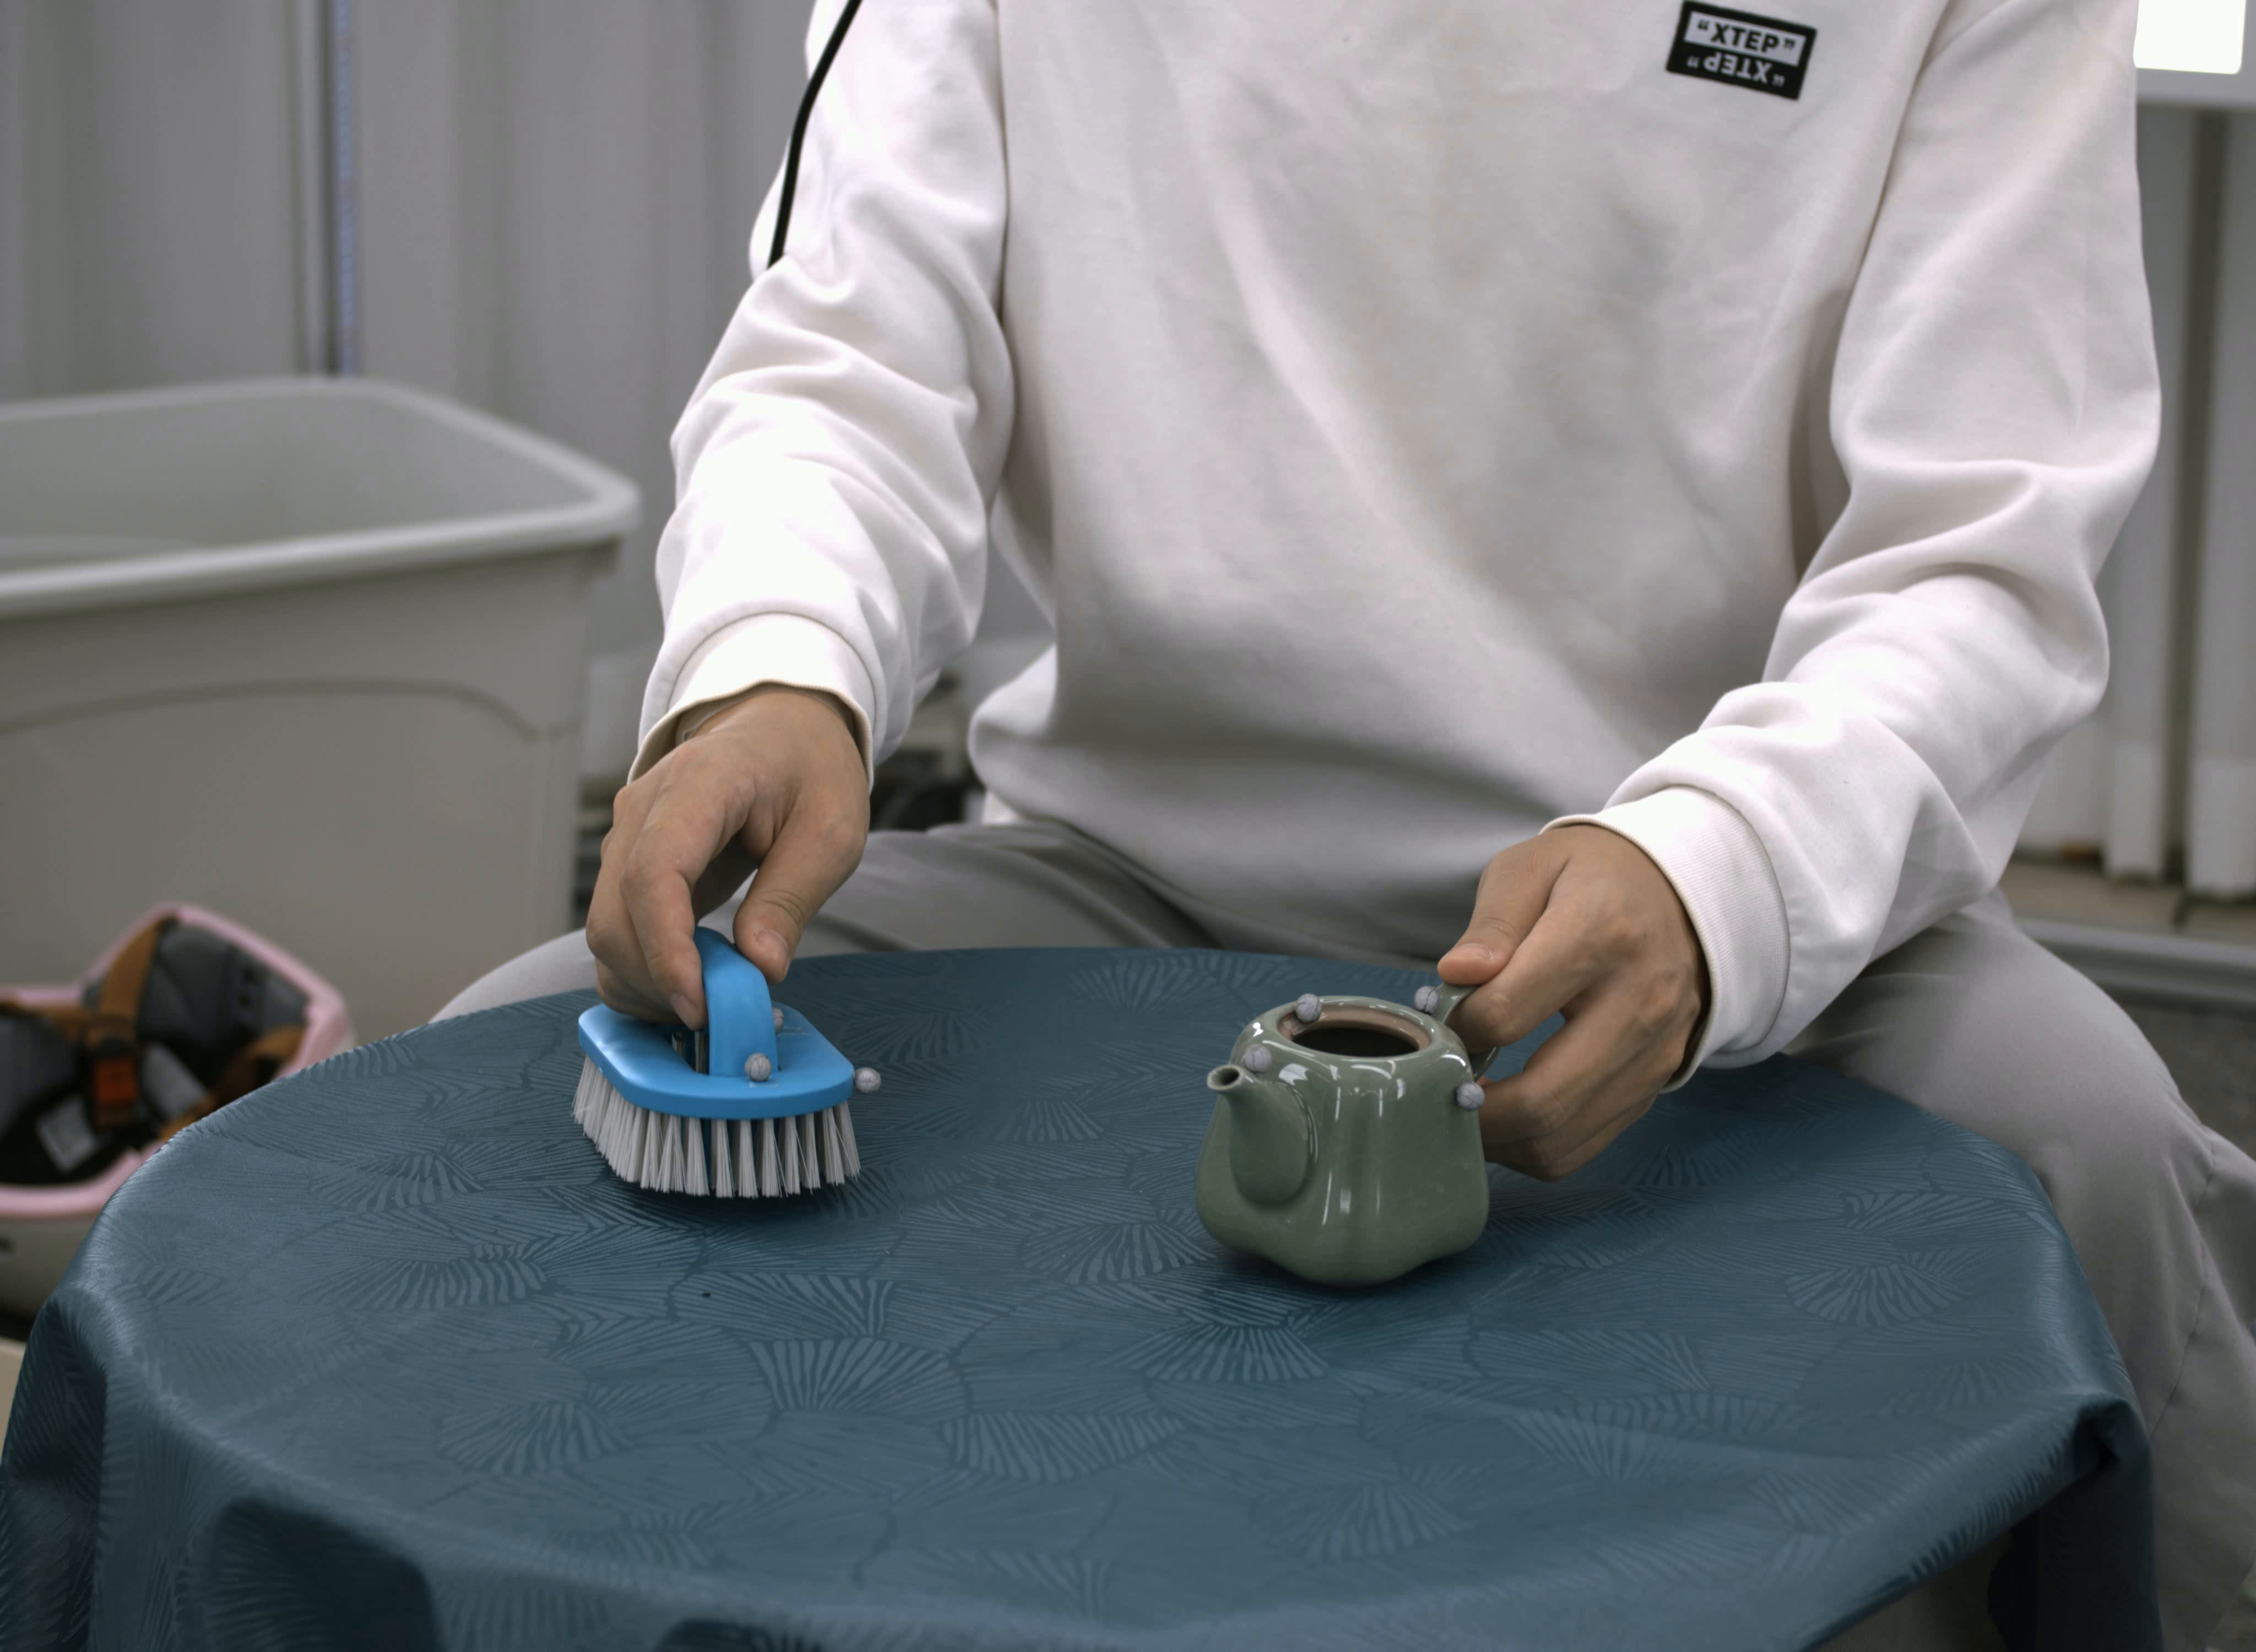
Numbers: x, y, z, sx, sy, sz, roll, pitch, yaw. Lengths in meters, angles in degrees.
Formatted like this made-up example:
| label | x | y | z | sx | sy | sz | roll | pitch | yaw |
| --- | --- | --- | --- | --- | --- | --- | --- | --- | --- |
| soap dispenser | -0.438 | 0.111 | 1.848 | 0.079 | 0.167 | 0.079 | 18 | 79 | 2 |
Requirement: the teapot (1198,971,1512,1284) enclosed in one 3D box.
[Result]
| label | x | y | z | sx | sy | sz | roll | pitch | yaw |
| --- | --- | --- | --- | --- | --- | --- | --- | --- | --- |
| teapot | 0.066 | 0.090 | 1.566 | 0.078 | 0.076 | 0.133 | 21 | 25 | 38 |

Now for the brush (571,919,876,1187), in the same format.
| label | x | y | z | sx | sy | sz | roll | pitch | yaw |
| --- | --- | --- | --- | --- | --- | --- | --- | --- | --- |
| brush | -0.129 | 0.066 | 1.648 | 0.084 | 0.064 | 0.140 | -6 | 12 | -14 |
